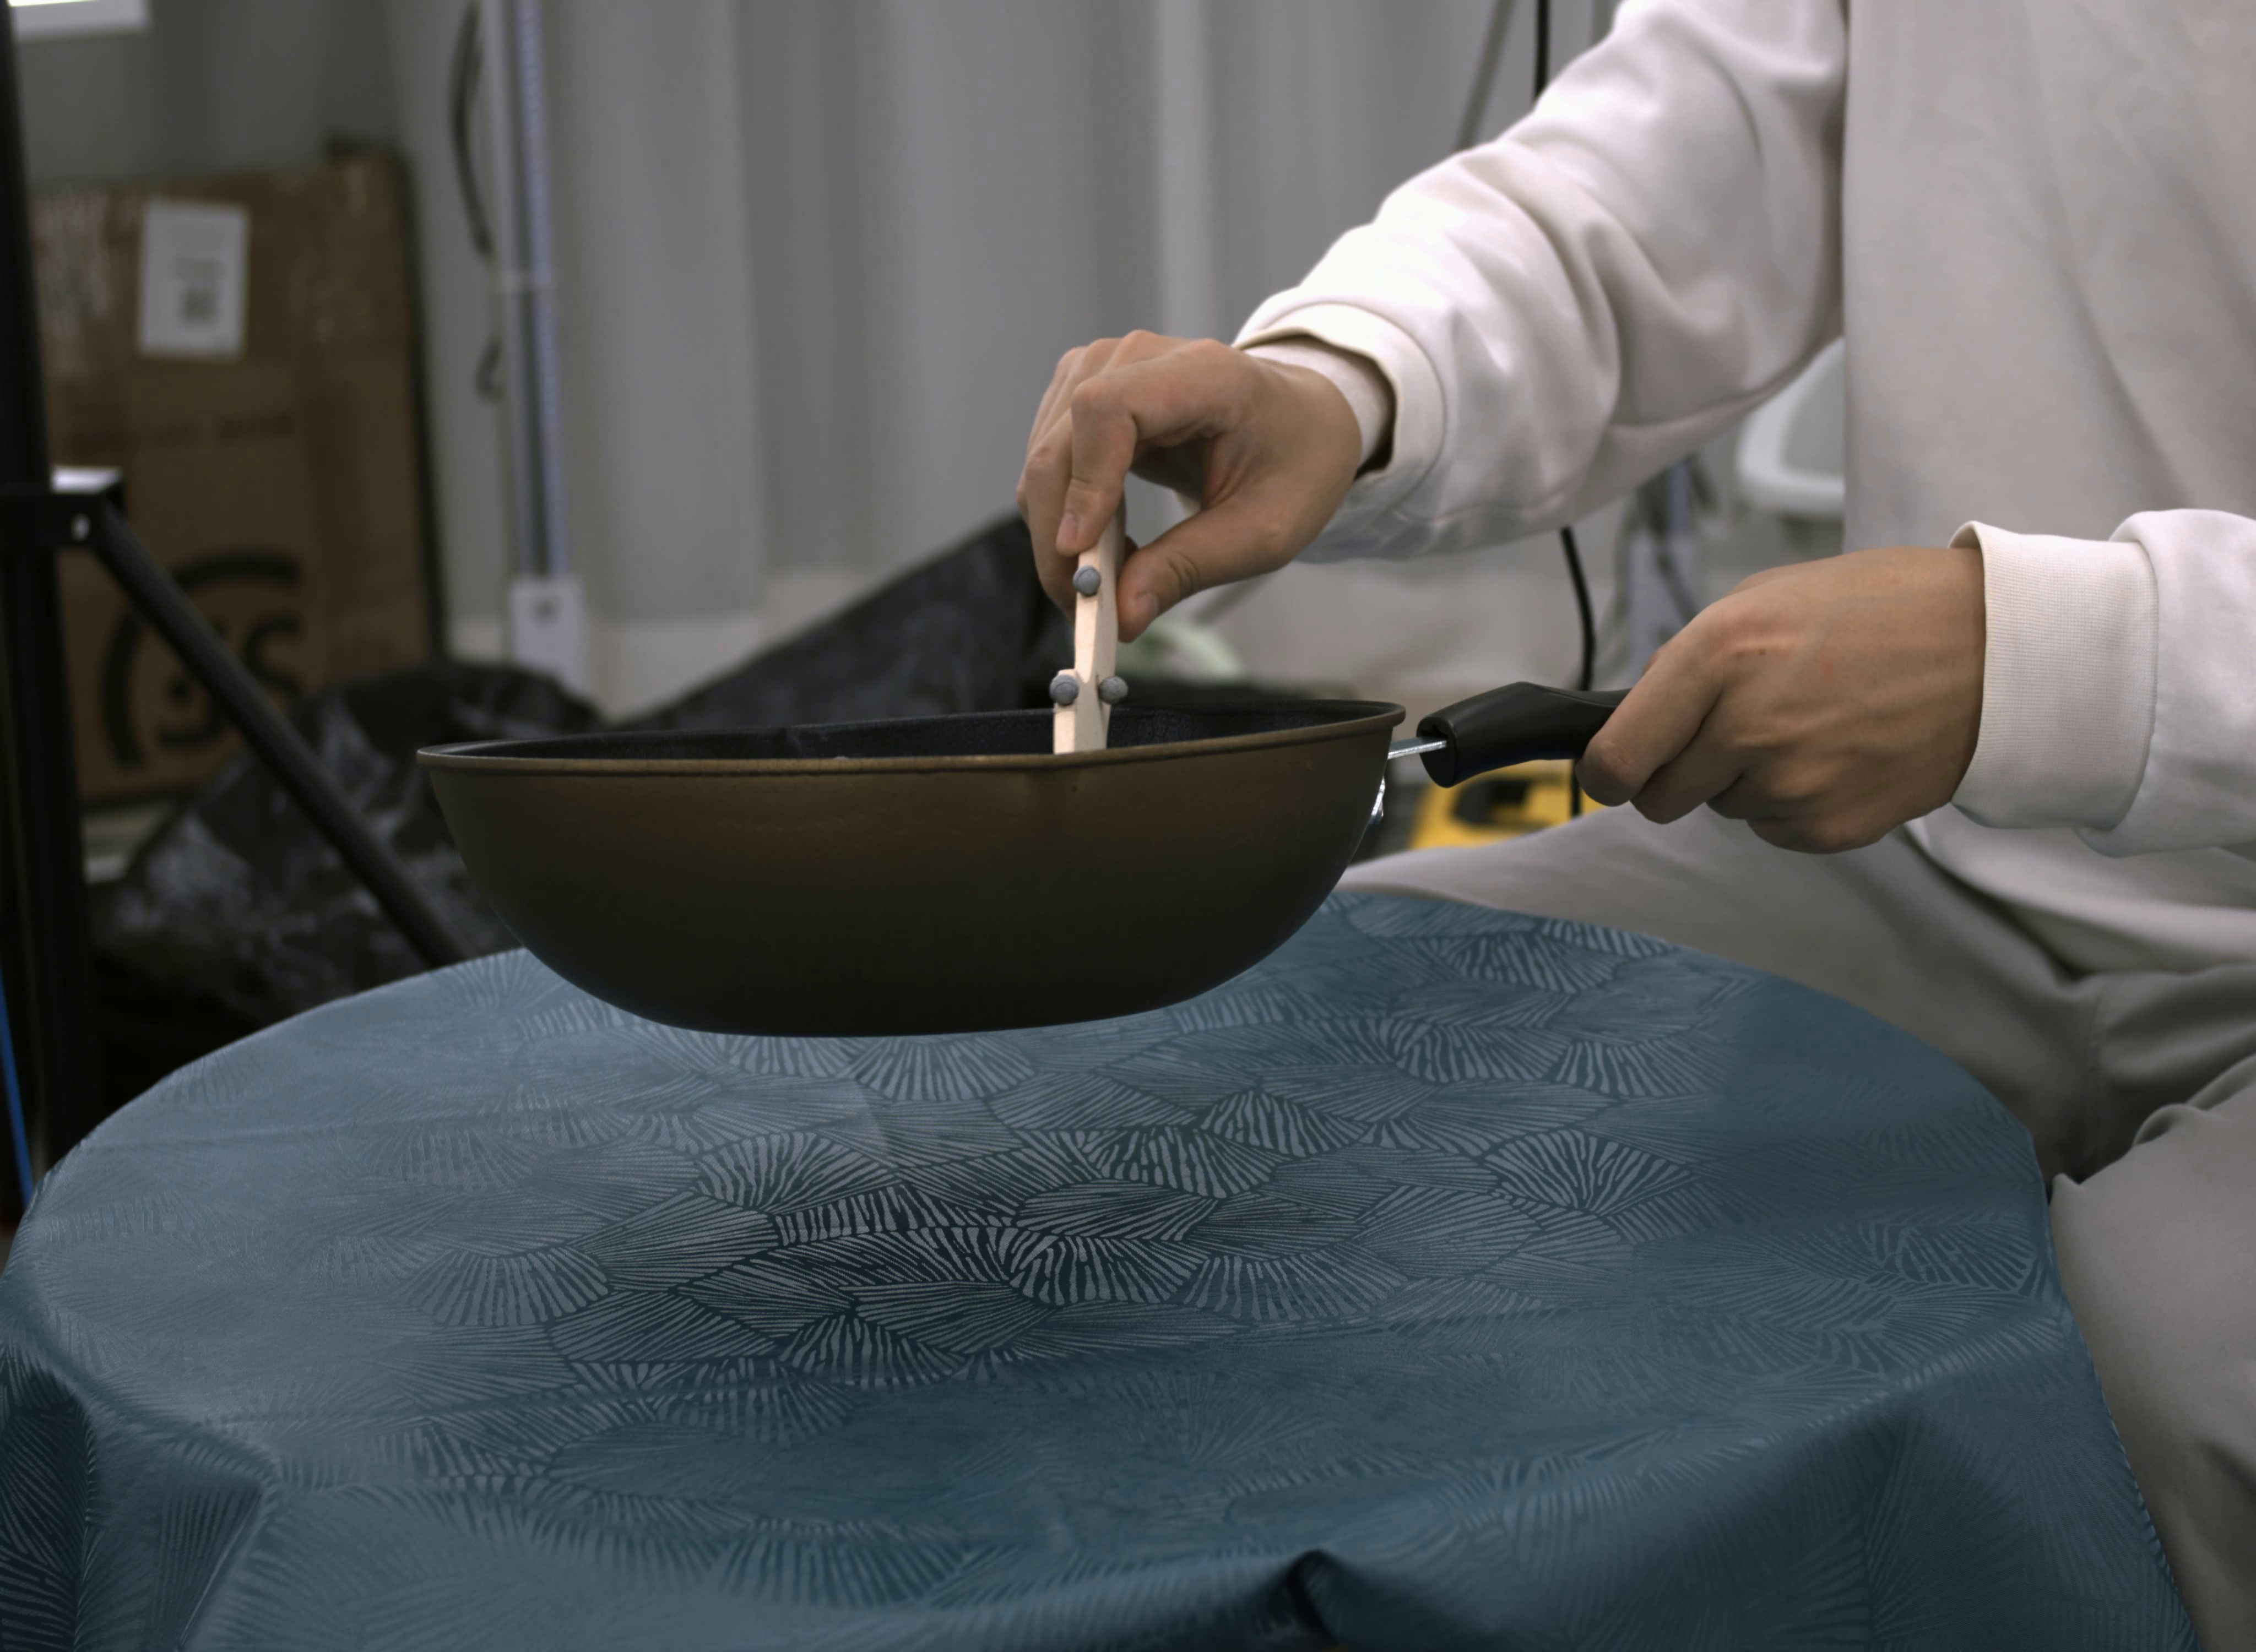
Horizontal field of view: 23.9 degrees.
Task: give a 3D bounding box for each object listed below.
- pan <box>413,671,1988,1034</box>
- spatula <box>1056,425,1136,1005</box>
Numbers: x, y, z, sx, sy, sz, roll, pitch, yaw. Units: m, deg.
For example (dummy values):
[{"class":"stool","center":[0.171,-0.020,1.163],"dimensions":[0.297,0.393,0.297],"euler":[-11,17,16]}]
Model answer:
[{"class":"pan","center":[0.027,0.006,1.518],"dimensions":[0.456,0.087,0.291],"euler":[-2,3,-14]},{"class":"spatula","center":[-0.009,-0.049,1.580],"dimensions":[0.010,0.071,0.295],"euler":[-12,28,7]}]
